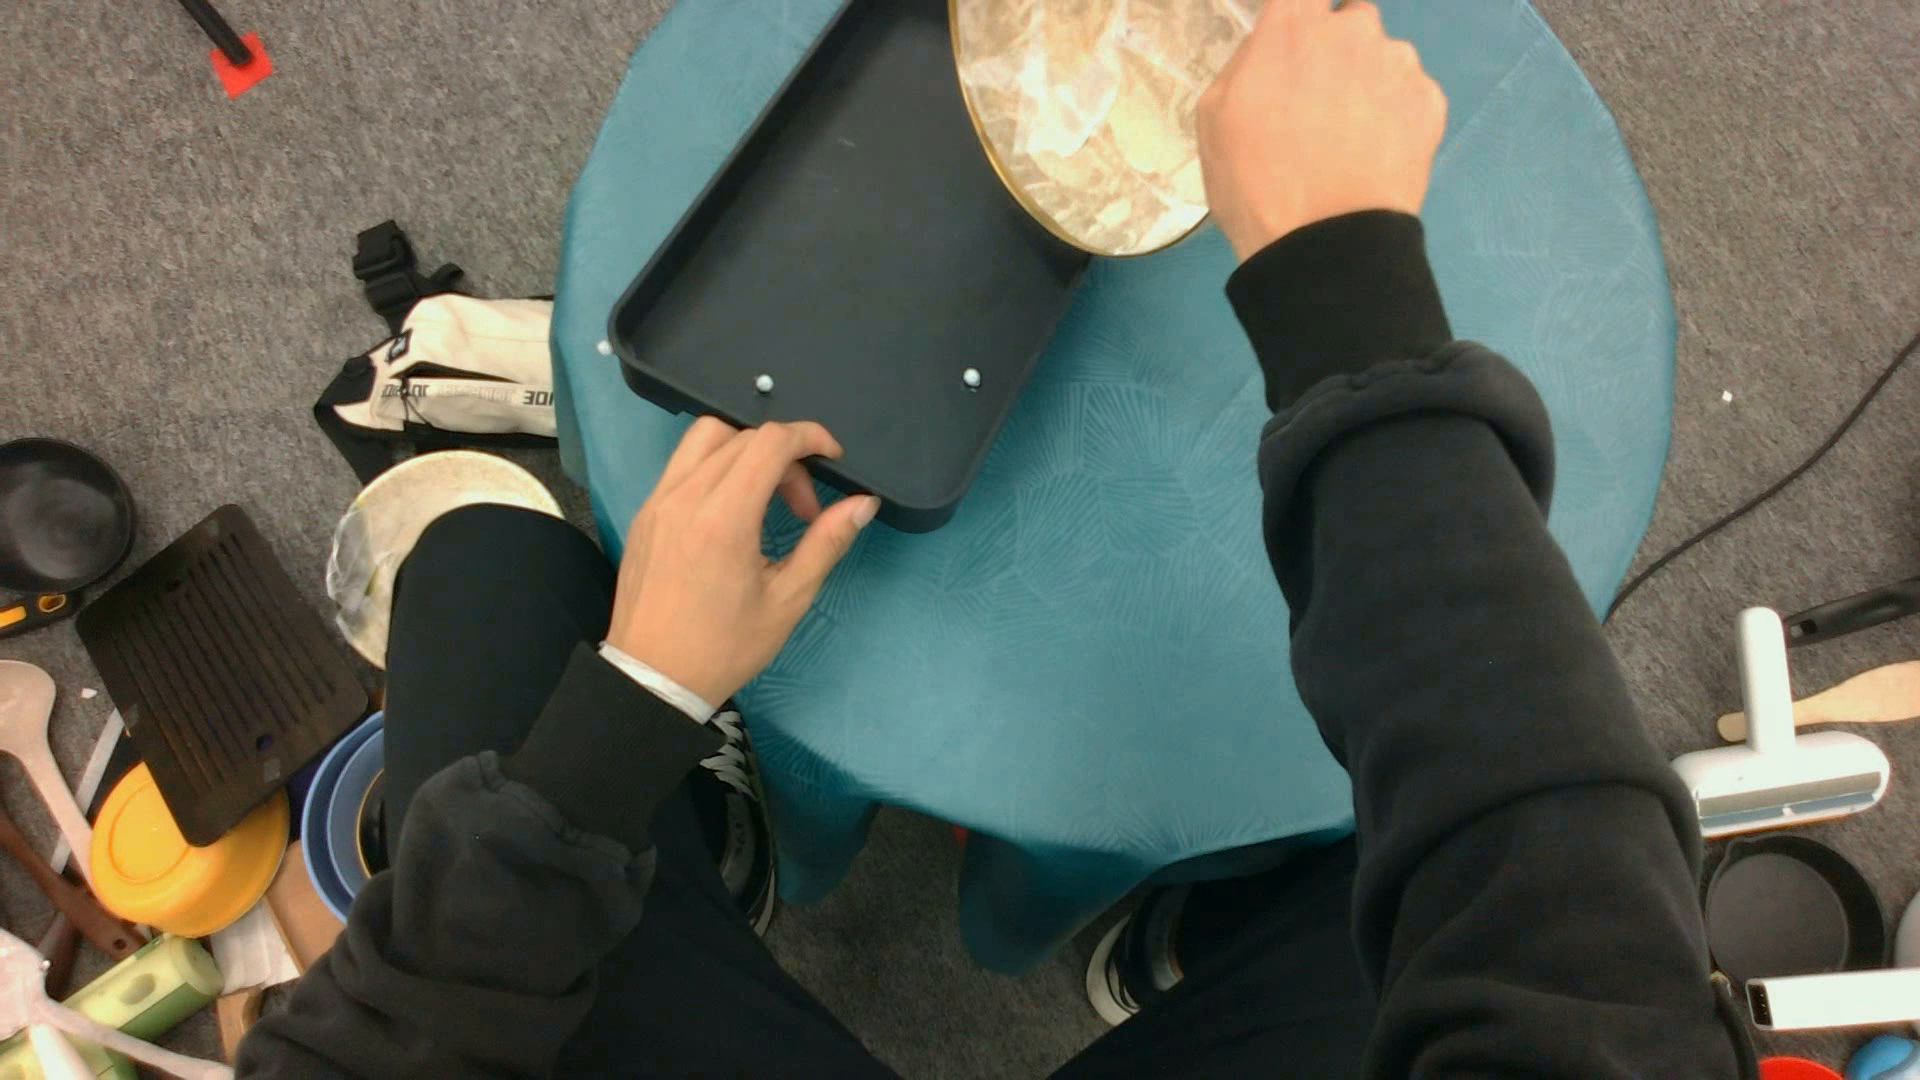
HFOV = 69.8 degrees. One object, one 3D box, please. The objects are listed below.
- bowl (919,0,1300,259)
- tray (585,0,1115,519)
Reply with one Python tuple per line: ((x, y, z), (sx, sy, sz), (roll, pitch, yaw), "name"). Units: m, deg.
((0.079, -0.242, 0.634), (0.095, 0.213, 0.215), (-27, 77, -32), "bowl")
((-0.029, -0.171, 0.700), (0.184, 0.037, 0.319), (28, 63, 5), "tray")
